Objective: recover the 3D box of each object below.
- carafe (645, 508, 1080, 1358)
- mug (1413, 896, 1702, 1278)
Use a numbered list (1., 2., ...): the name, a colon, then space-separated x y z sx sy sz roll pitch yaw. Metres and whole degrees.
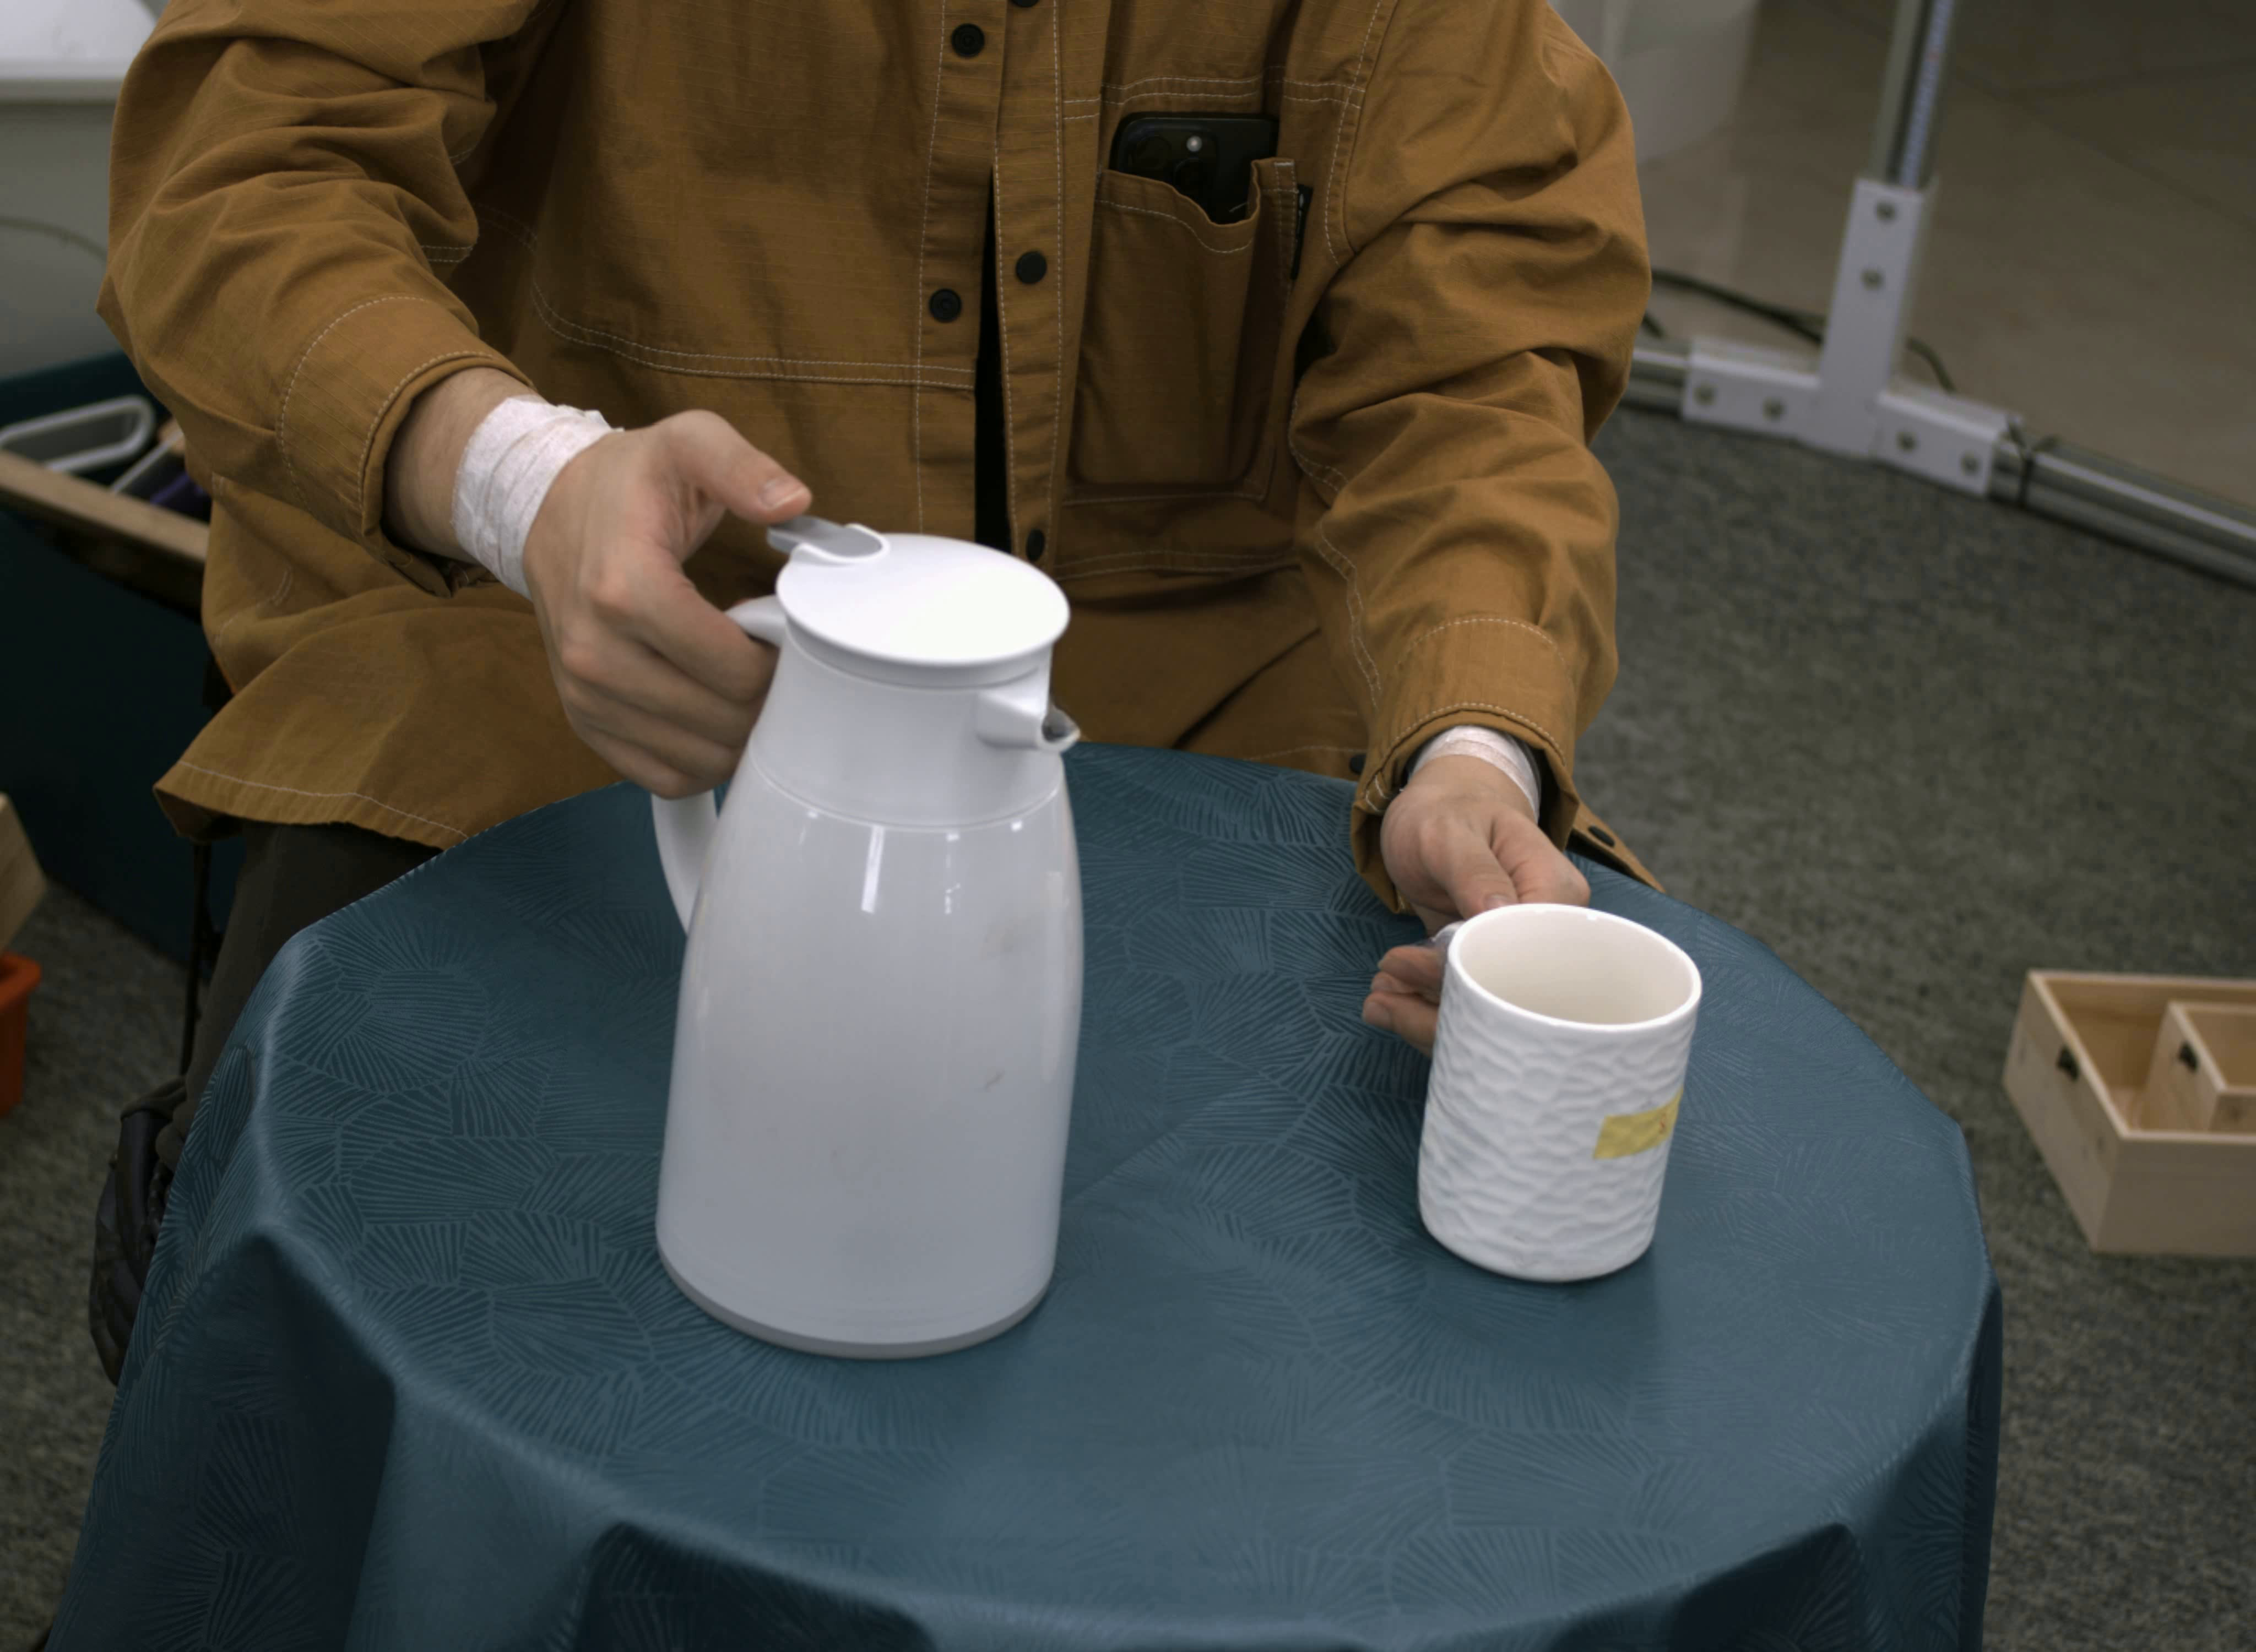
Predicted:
1. carafe: -0.093 0.024 1.708 0.169 0.248 0.132 26 33 34
2. mug: 0.136 0.081 1.801 0.084 0.101 0.119 -9 32 -27
